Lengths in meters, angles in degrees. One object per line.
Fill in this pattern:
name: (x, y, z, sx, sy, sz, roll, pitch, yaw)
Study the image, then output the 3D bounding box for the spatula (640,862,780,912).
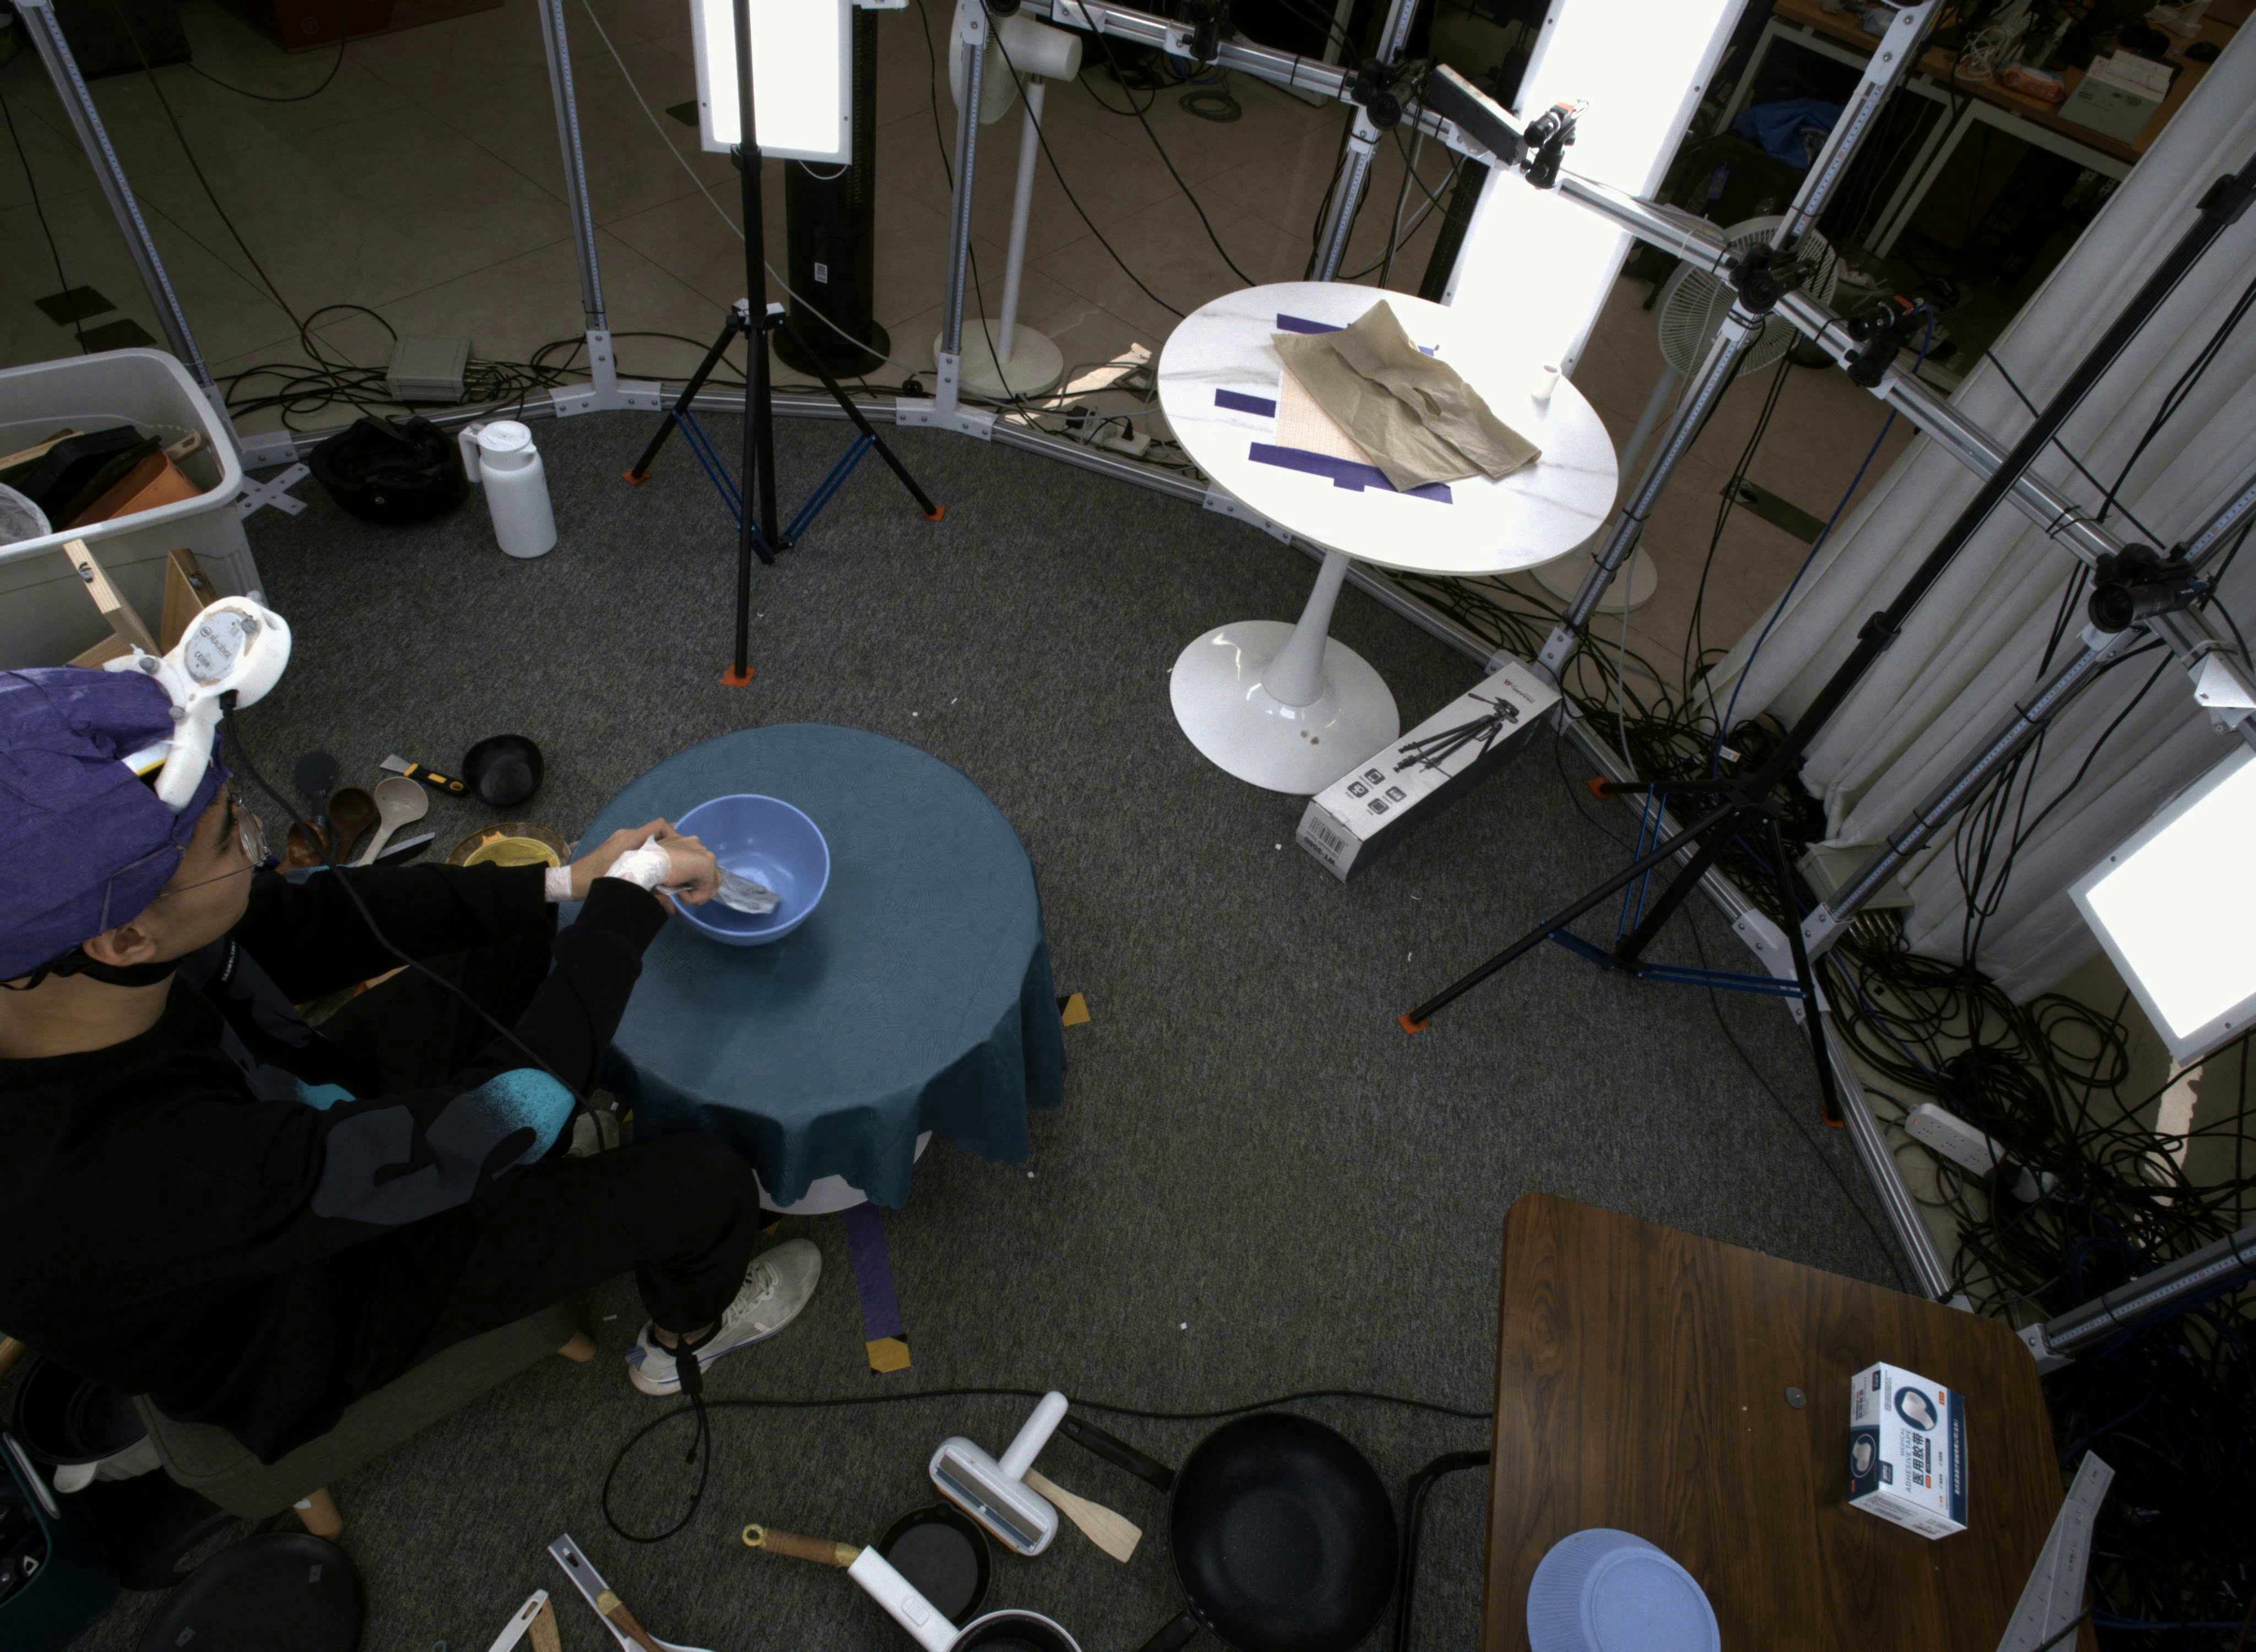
spatula: (-0.472, 0.060, 1.438, 0.098, 0.365, 0.045, 26, 82, -1)

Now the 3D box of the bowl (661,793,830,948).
bowl: (-0.465, 0.067, 1.577, 0.197, 0.096, 0.193, 9, 58, -13)
